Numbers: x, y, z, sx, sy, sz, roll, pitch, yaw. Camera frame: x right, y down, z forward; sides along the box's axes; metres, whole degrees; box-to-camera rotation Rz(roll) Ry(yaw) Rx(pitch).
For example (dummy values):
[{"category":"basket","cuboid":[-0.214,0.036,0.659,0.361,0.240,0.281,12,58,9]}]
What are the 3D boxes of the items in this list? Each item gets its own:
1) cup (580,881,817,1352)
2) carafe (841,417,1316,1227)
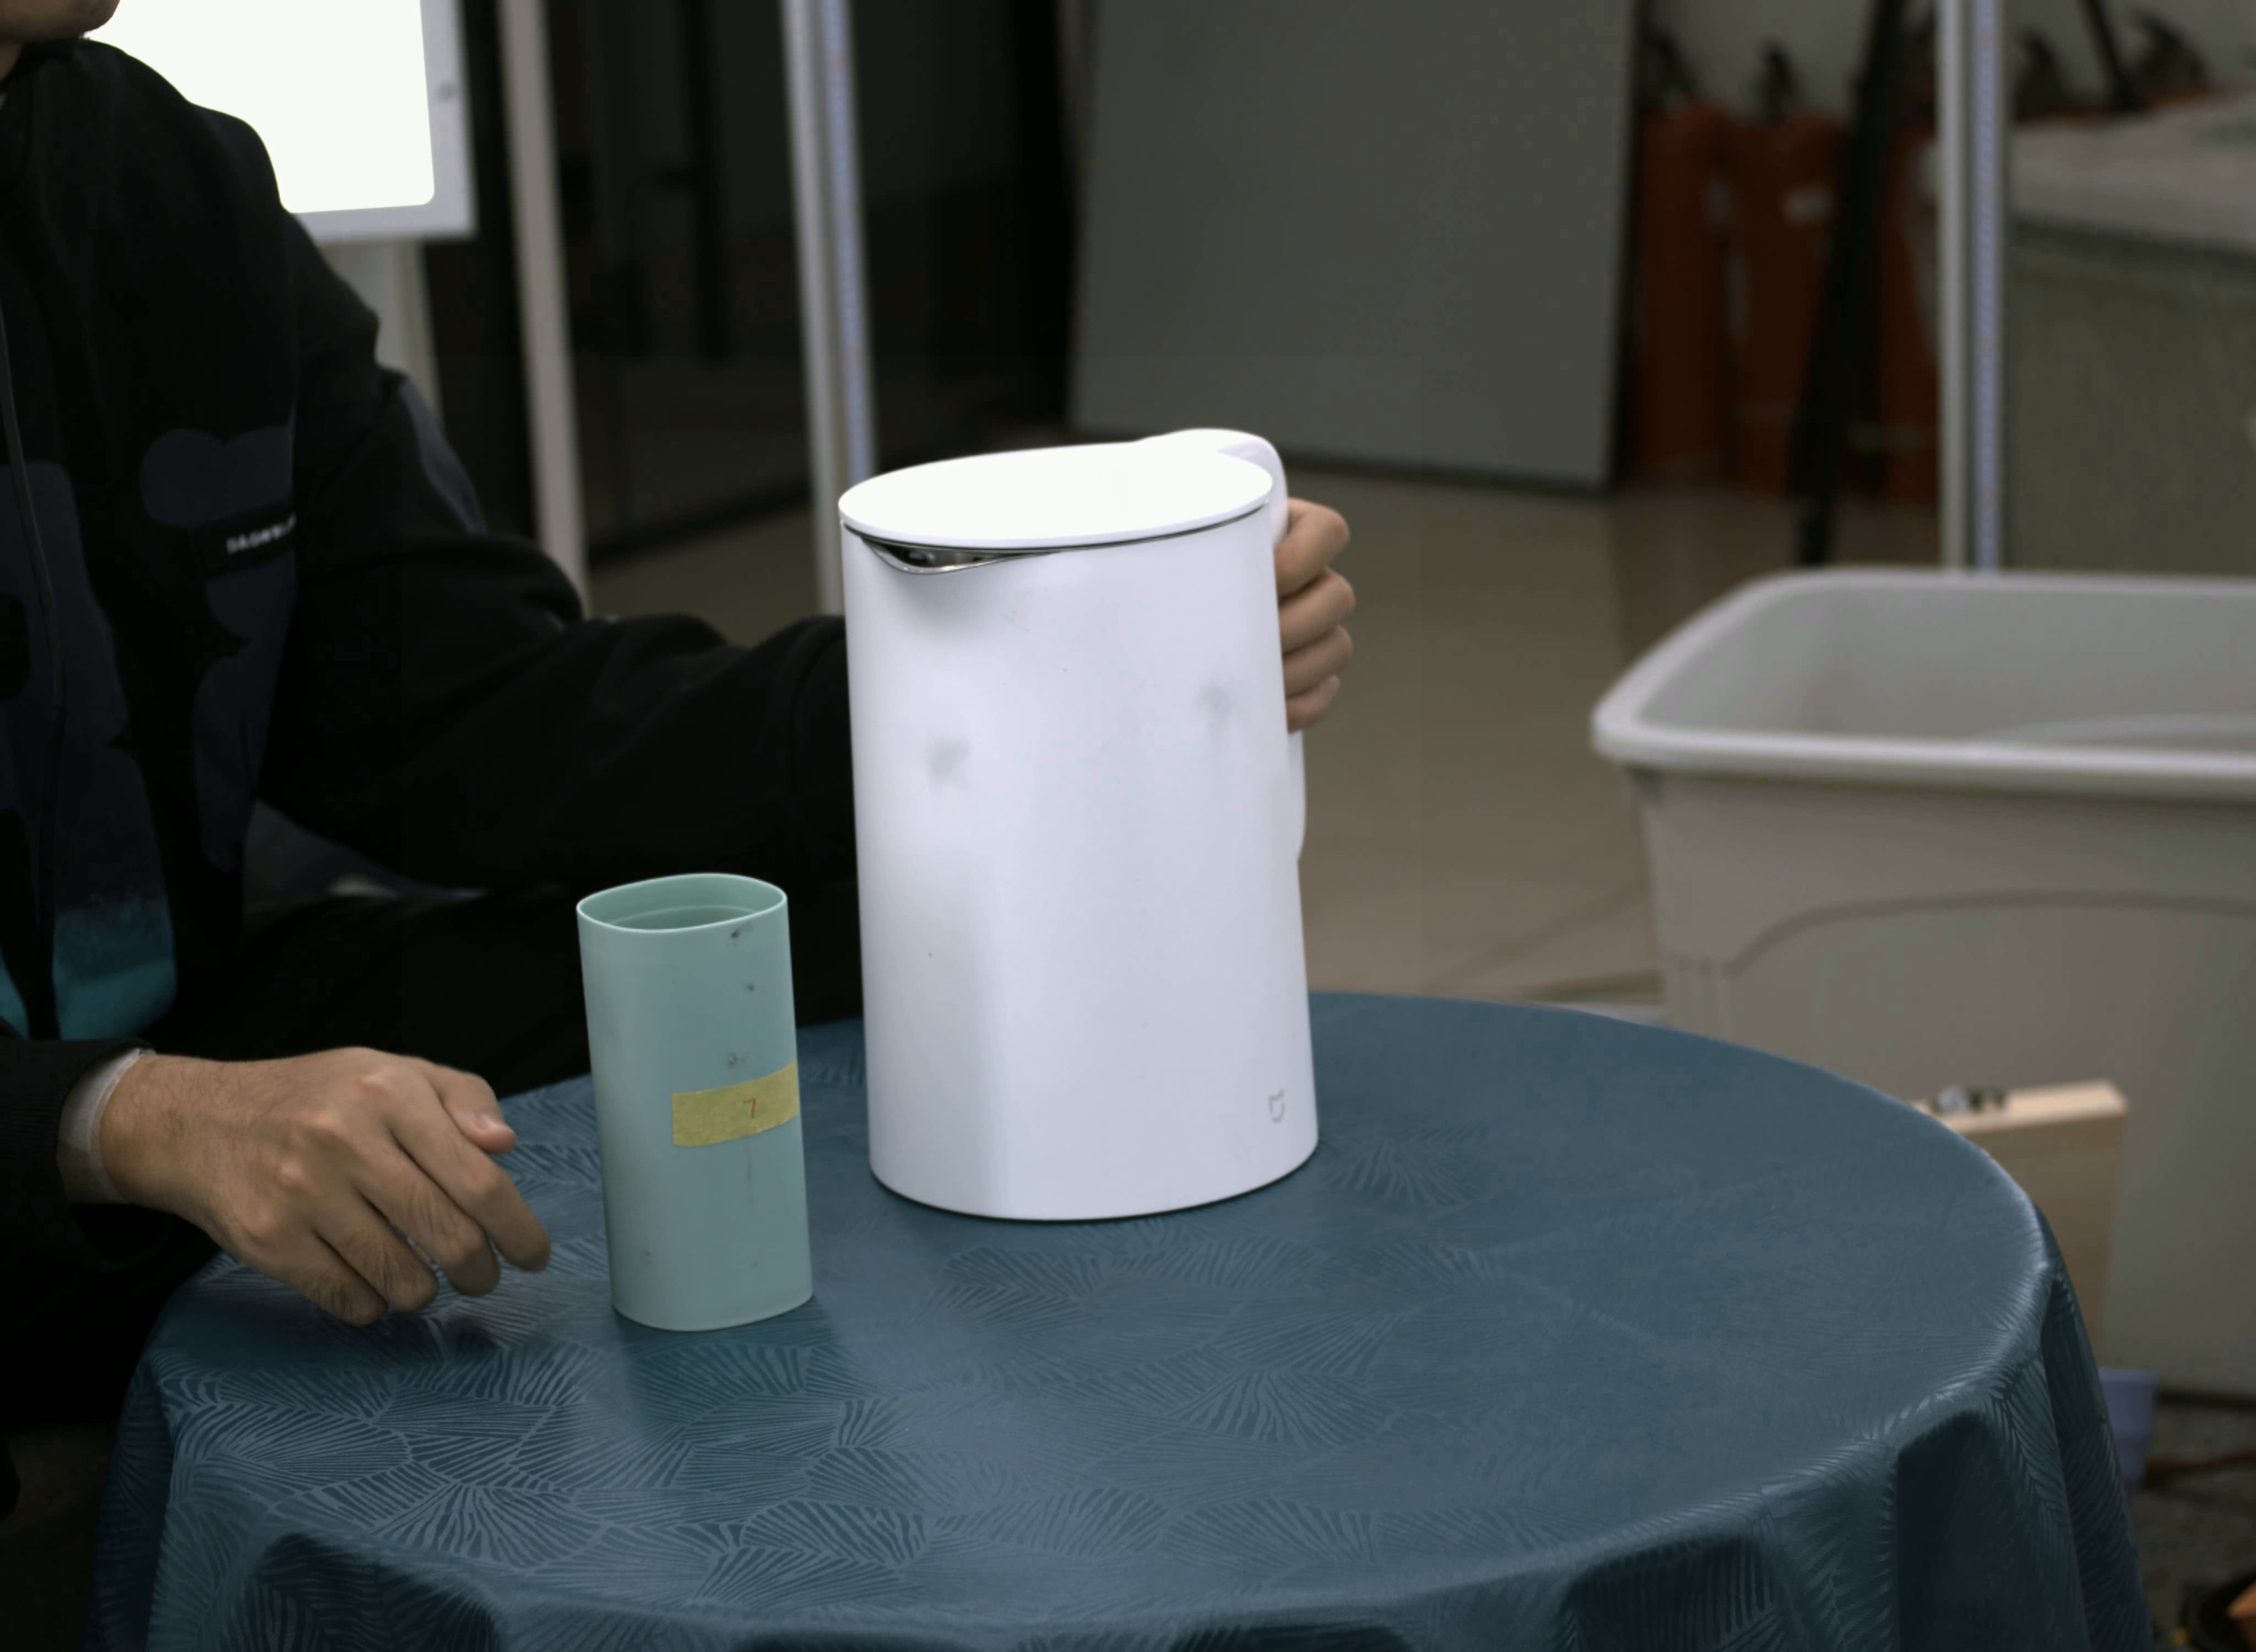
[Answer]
[{"category":"cup","cuboid":[-0.133,0.089,1.680,0.066,0.134,0.067,-4,15,0]},{"category":"carafe","cuboid":[-0.002,-0.007,1.806,0.153,0.243,0.210,6,18,32]}]
